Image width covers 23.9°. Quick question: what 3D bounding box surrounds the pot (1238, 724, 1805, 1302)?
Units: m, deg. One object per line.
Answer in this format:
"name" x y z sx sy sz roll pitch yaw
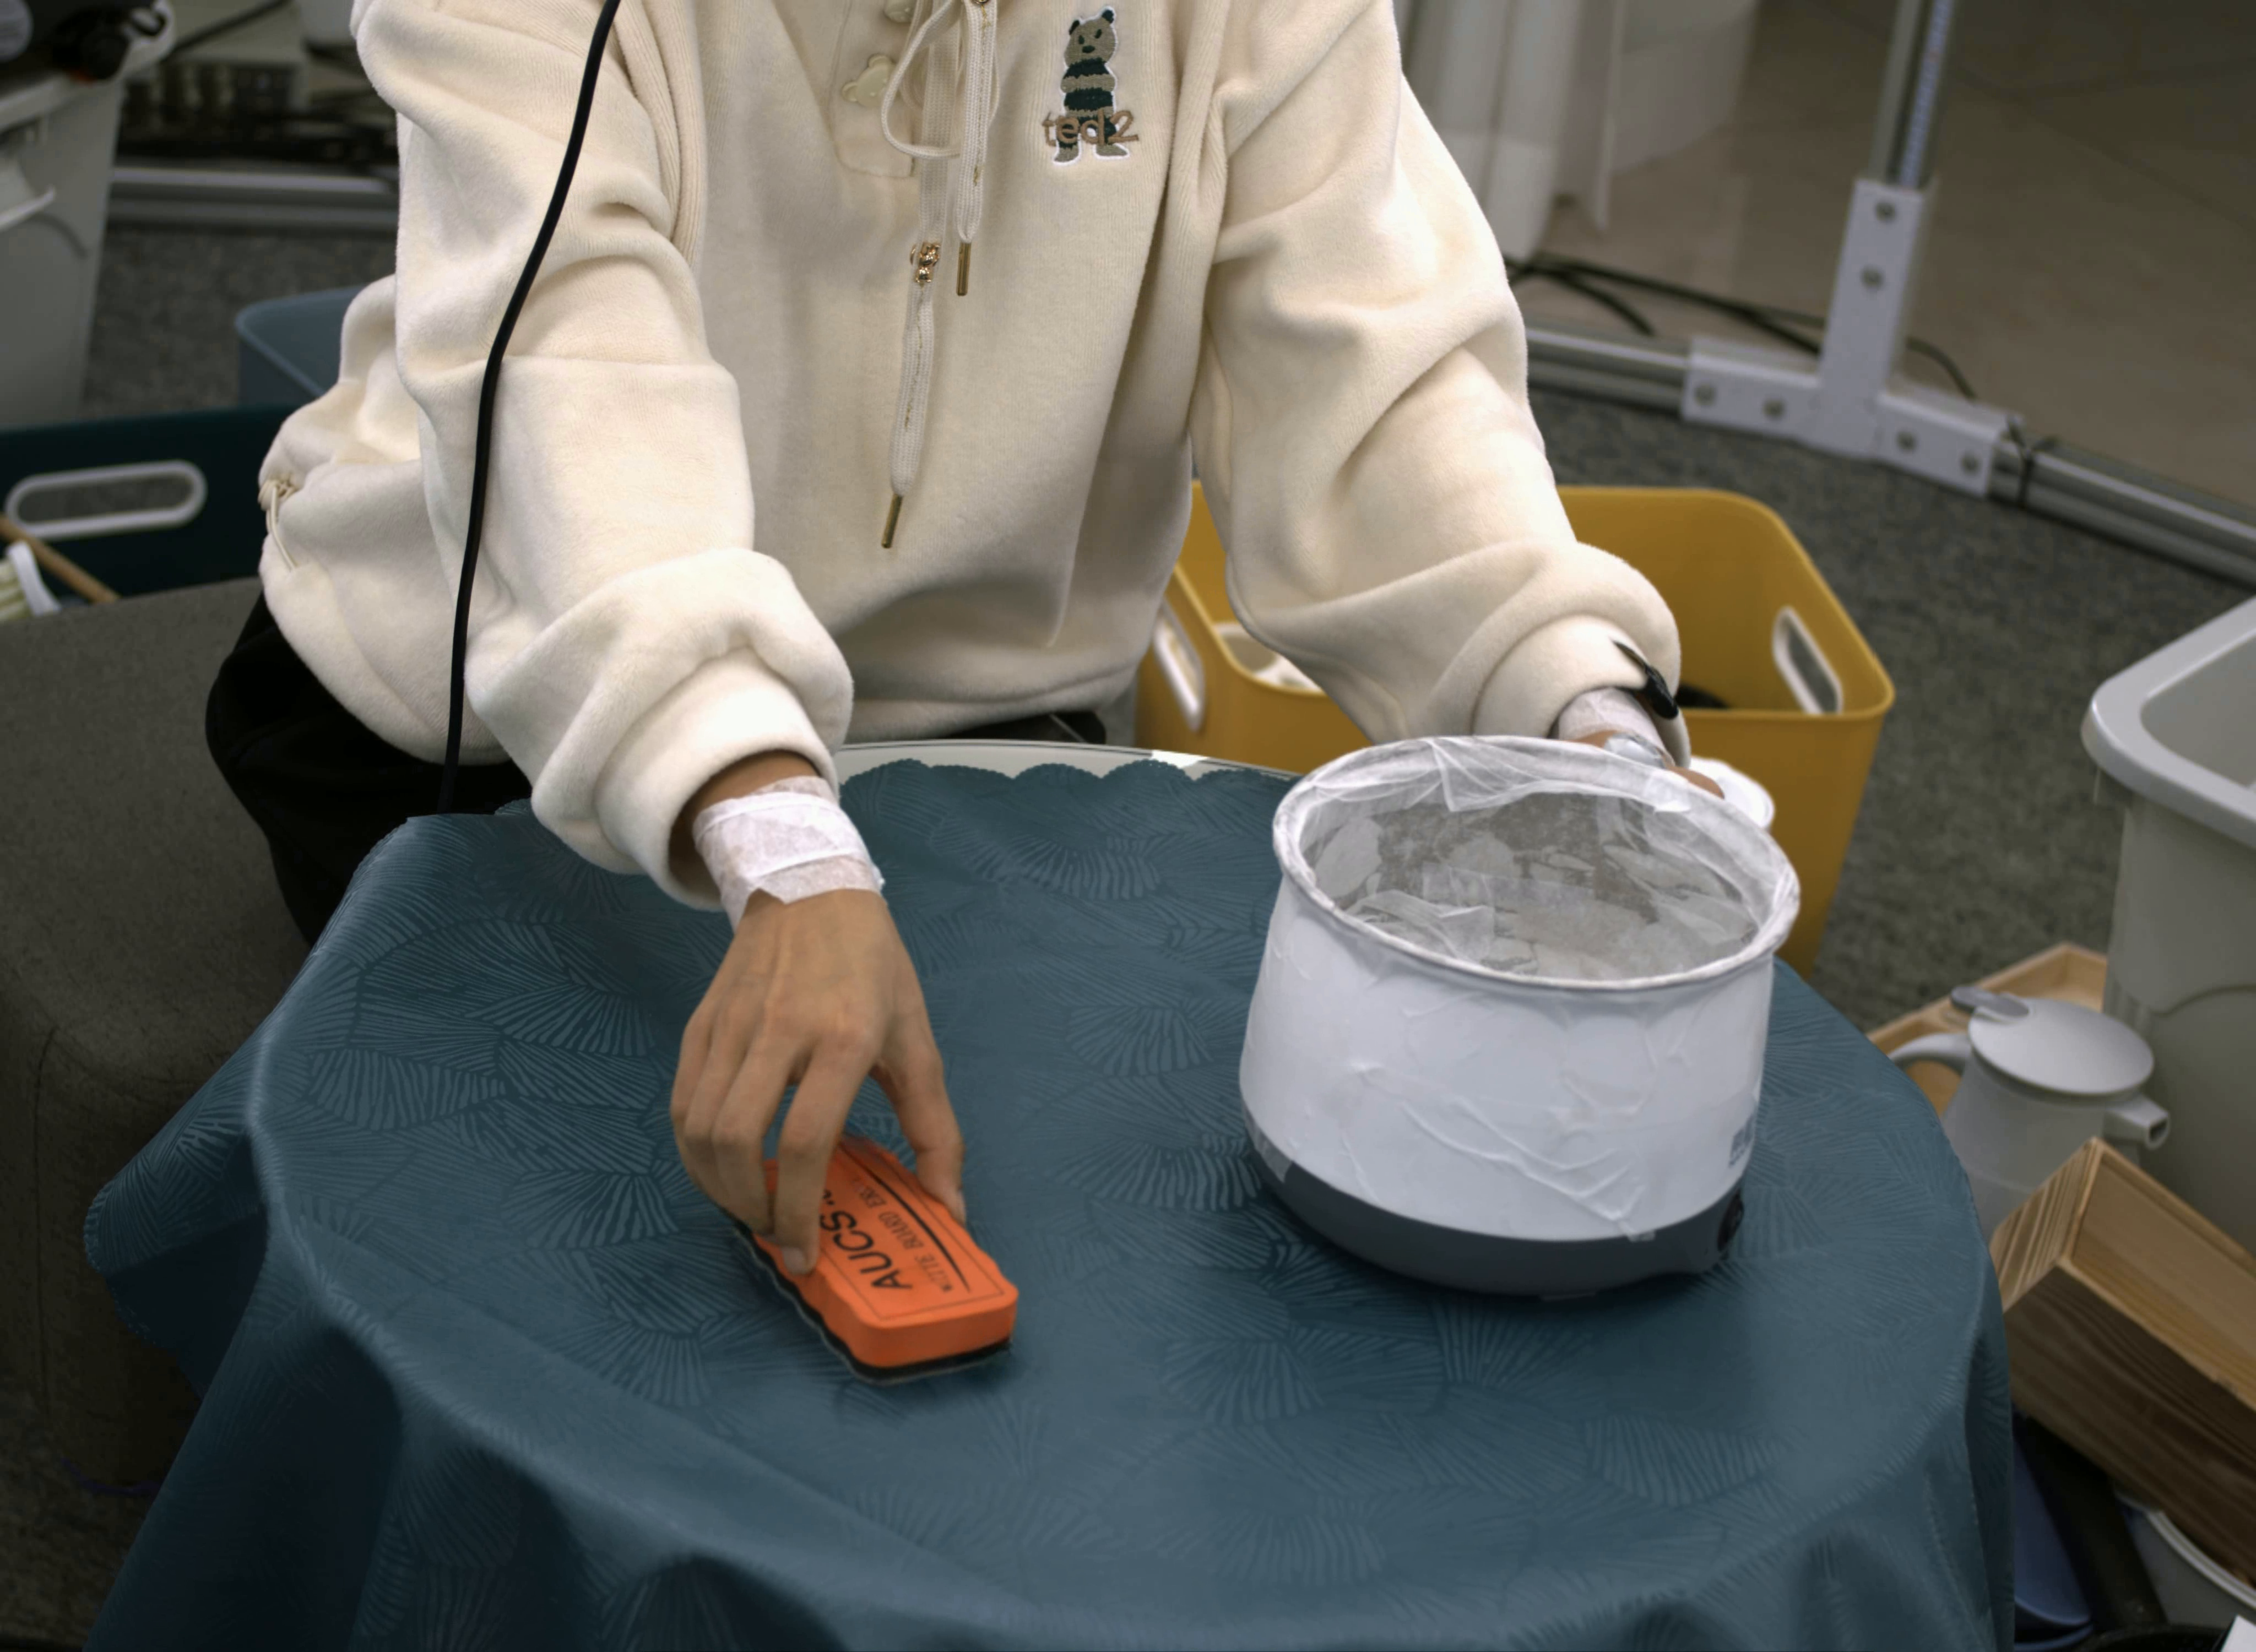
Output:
"pot" 0.140 0.053 1.815 0.179 0.136 0.234 17 30 17

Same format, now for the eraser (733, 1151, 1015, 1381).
"eraser" -0.083 0.142 1.723 0.058 0.023 0.109 -3 27 -29
